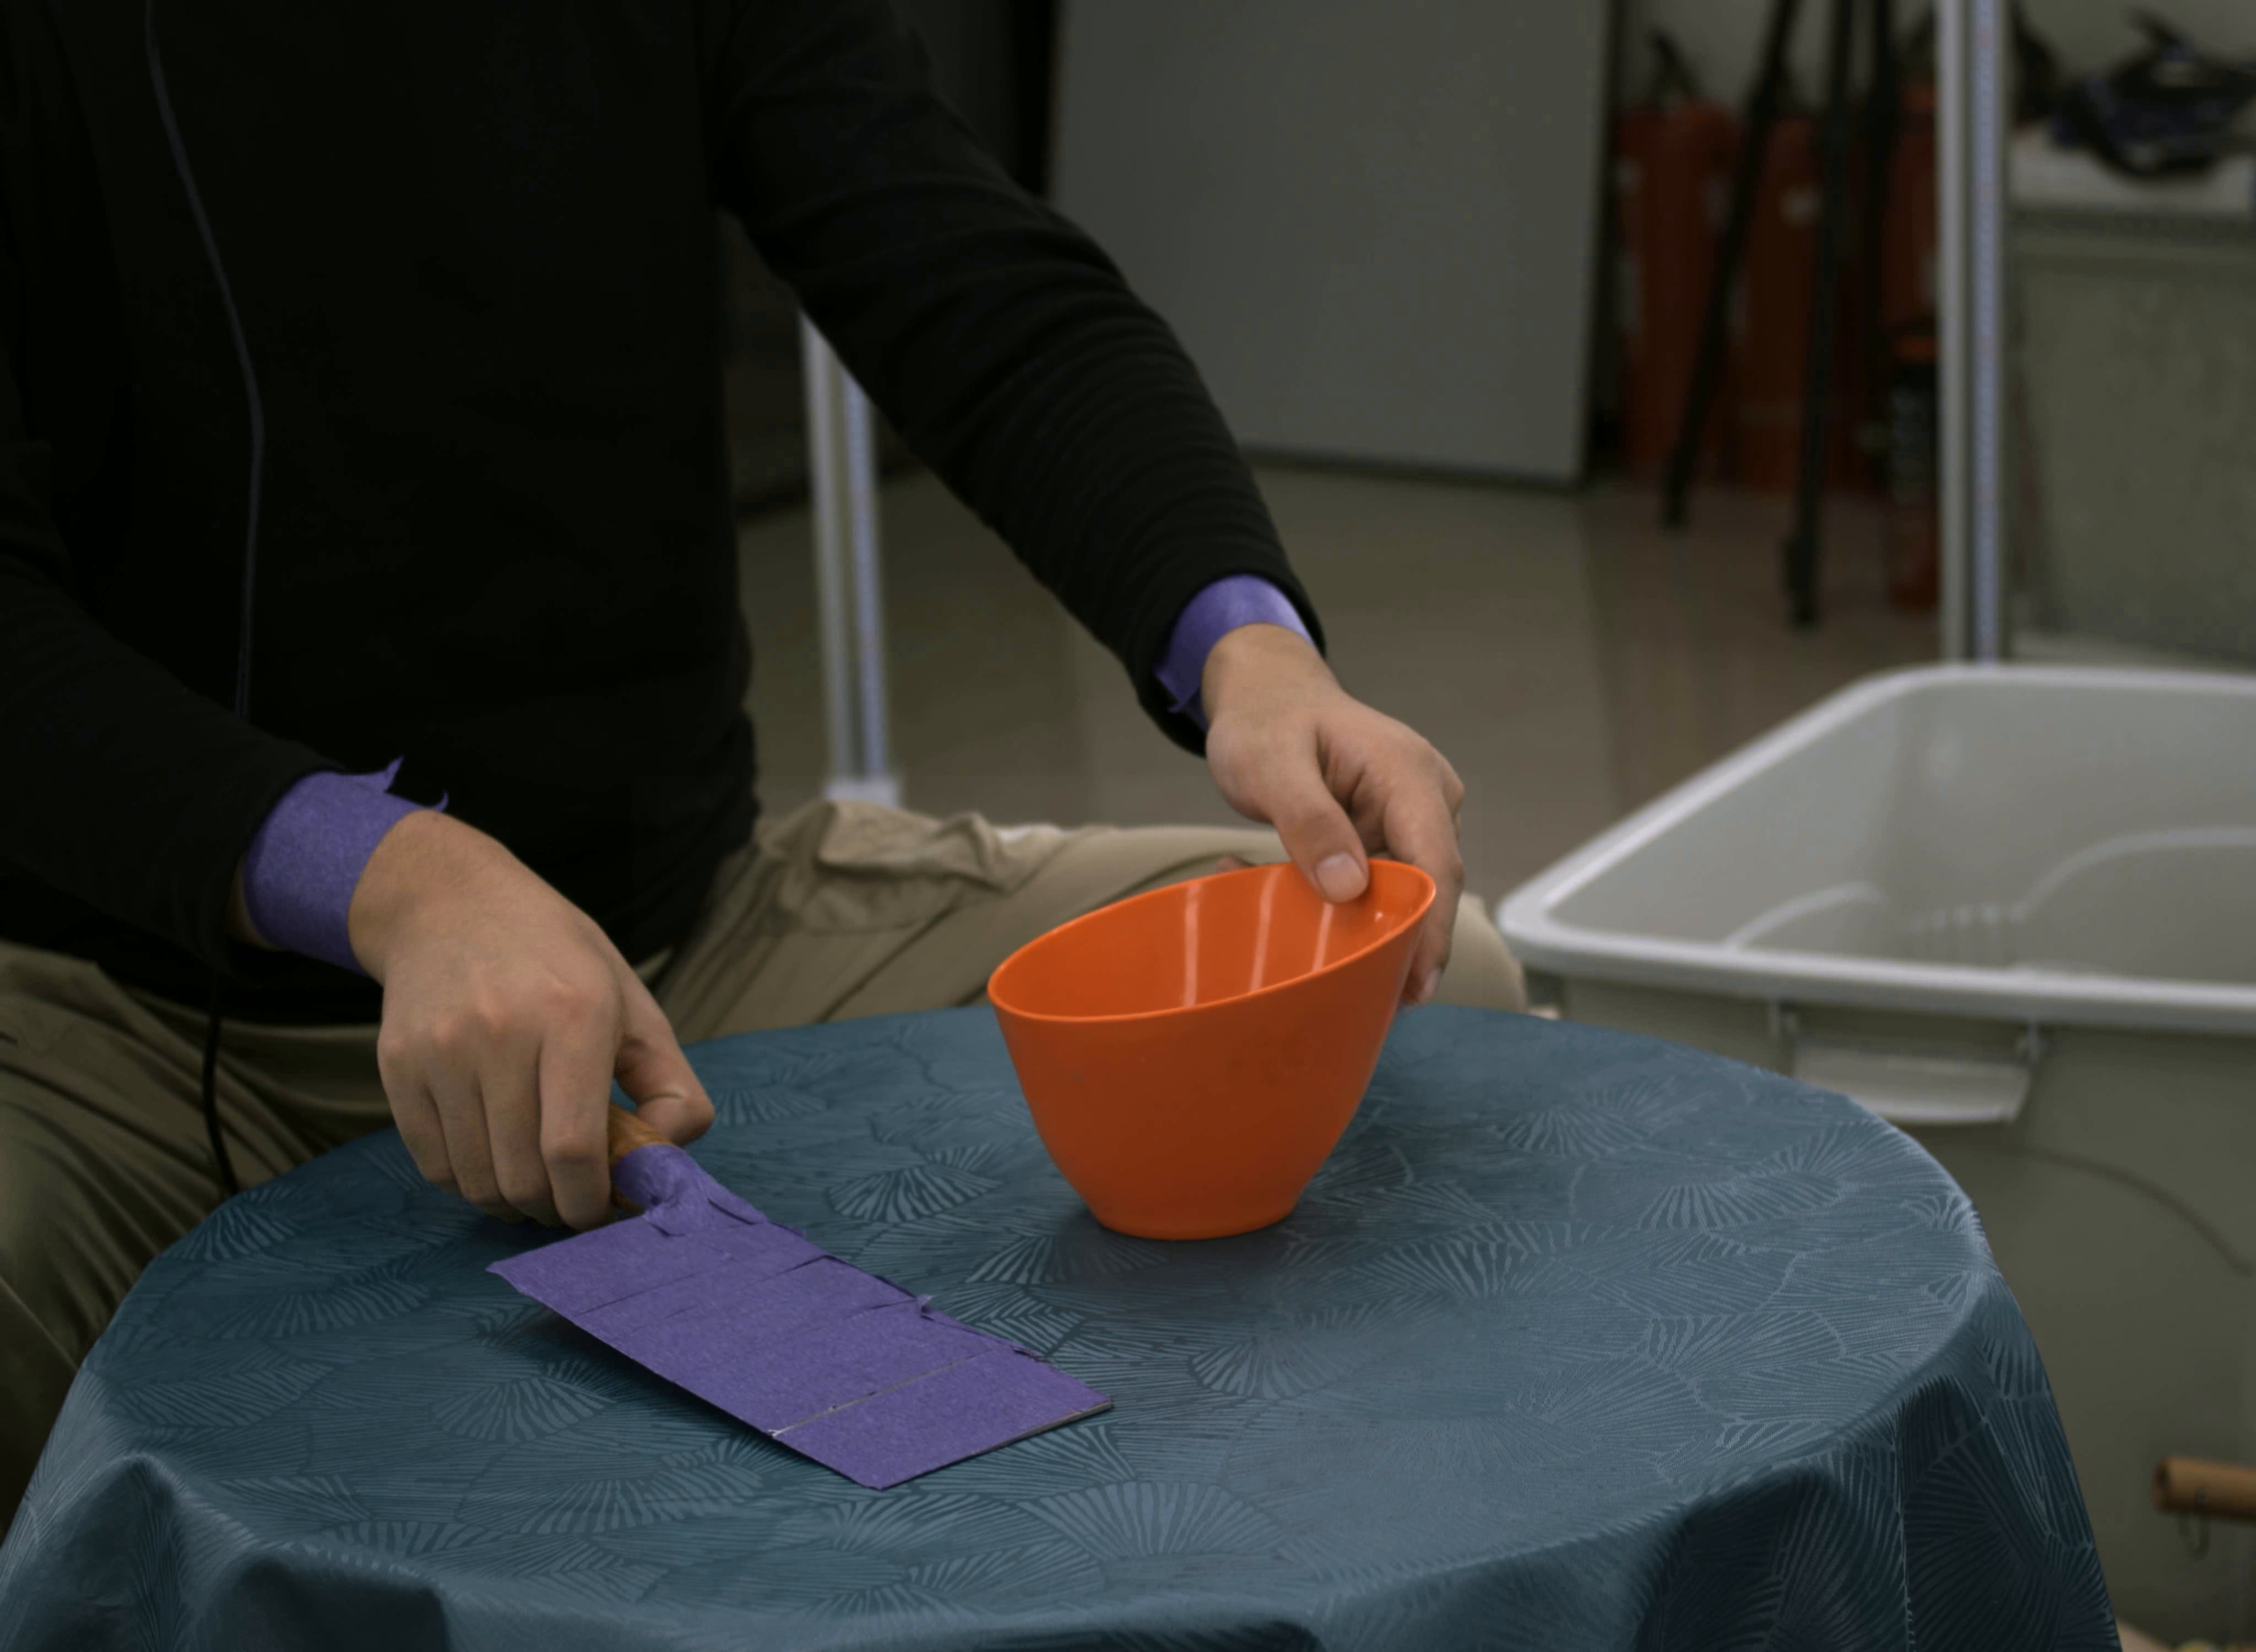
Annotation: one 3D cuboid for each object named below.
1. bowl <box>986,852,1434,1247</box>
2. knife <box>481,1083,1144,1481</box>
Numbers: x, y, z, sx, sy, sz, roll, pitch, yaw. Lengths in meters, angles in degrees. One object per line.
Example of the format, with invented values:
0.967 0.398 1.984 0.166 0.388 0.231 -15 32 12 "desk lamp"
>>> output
0.029 0.075 1.739 0.146 0.106 0.148 -5 16 0 "bowl"
-0.129 0.137 1.666 0.101 0.032 0.318 -14 20 -36 "knife"
